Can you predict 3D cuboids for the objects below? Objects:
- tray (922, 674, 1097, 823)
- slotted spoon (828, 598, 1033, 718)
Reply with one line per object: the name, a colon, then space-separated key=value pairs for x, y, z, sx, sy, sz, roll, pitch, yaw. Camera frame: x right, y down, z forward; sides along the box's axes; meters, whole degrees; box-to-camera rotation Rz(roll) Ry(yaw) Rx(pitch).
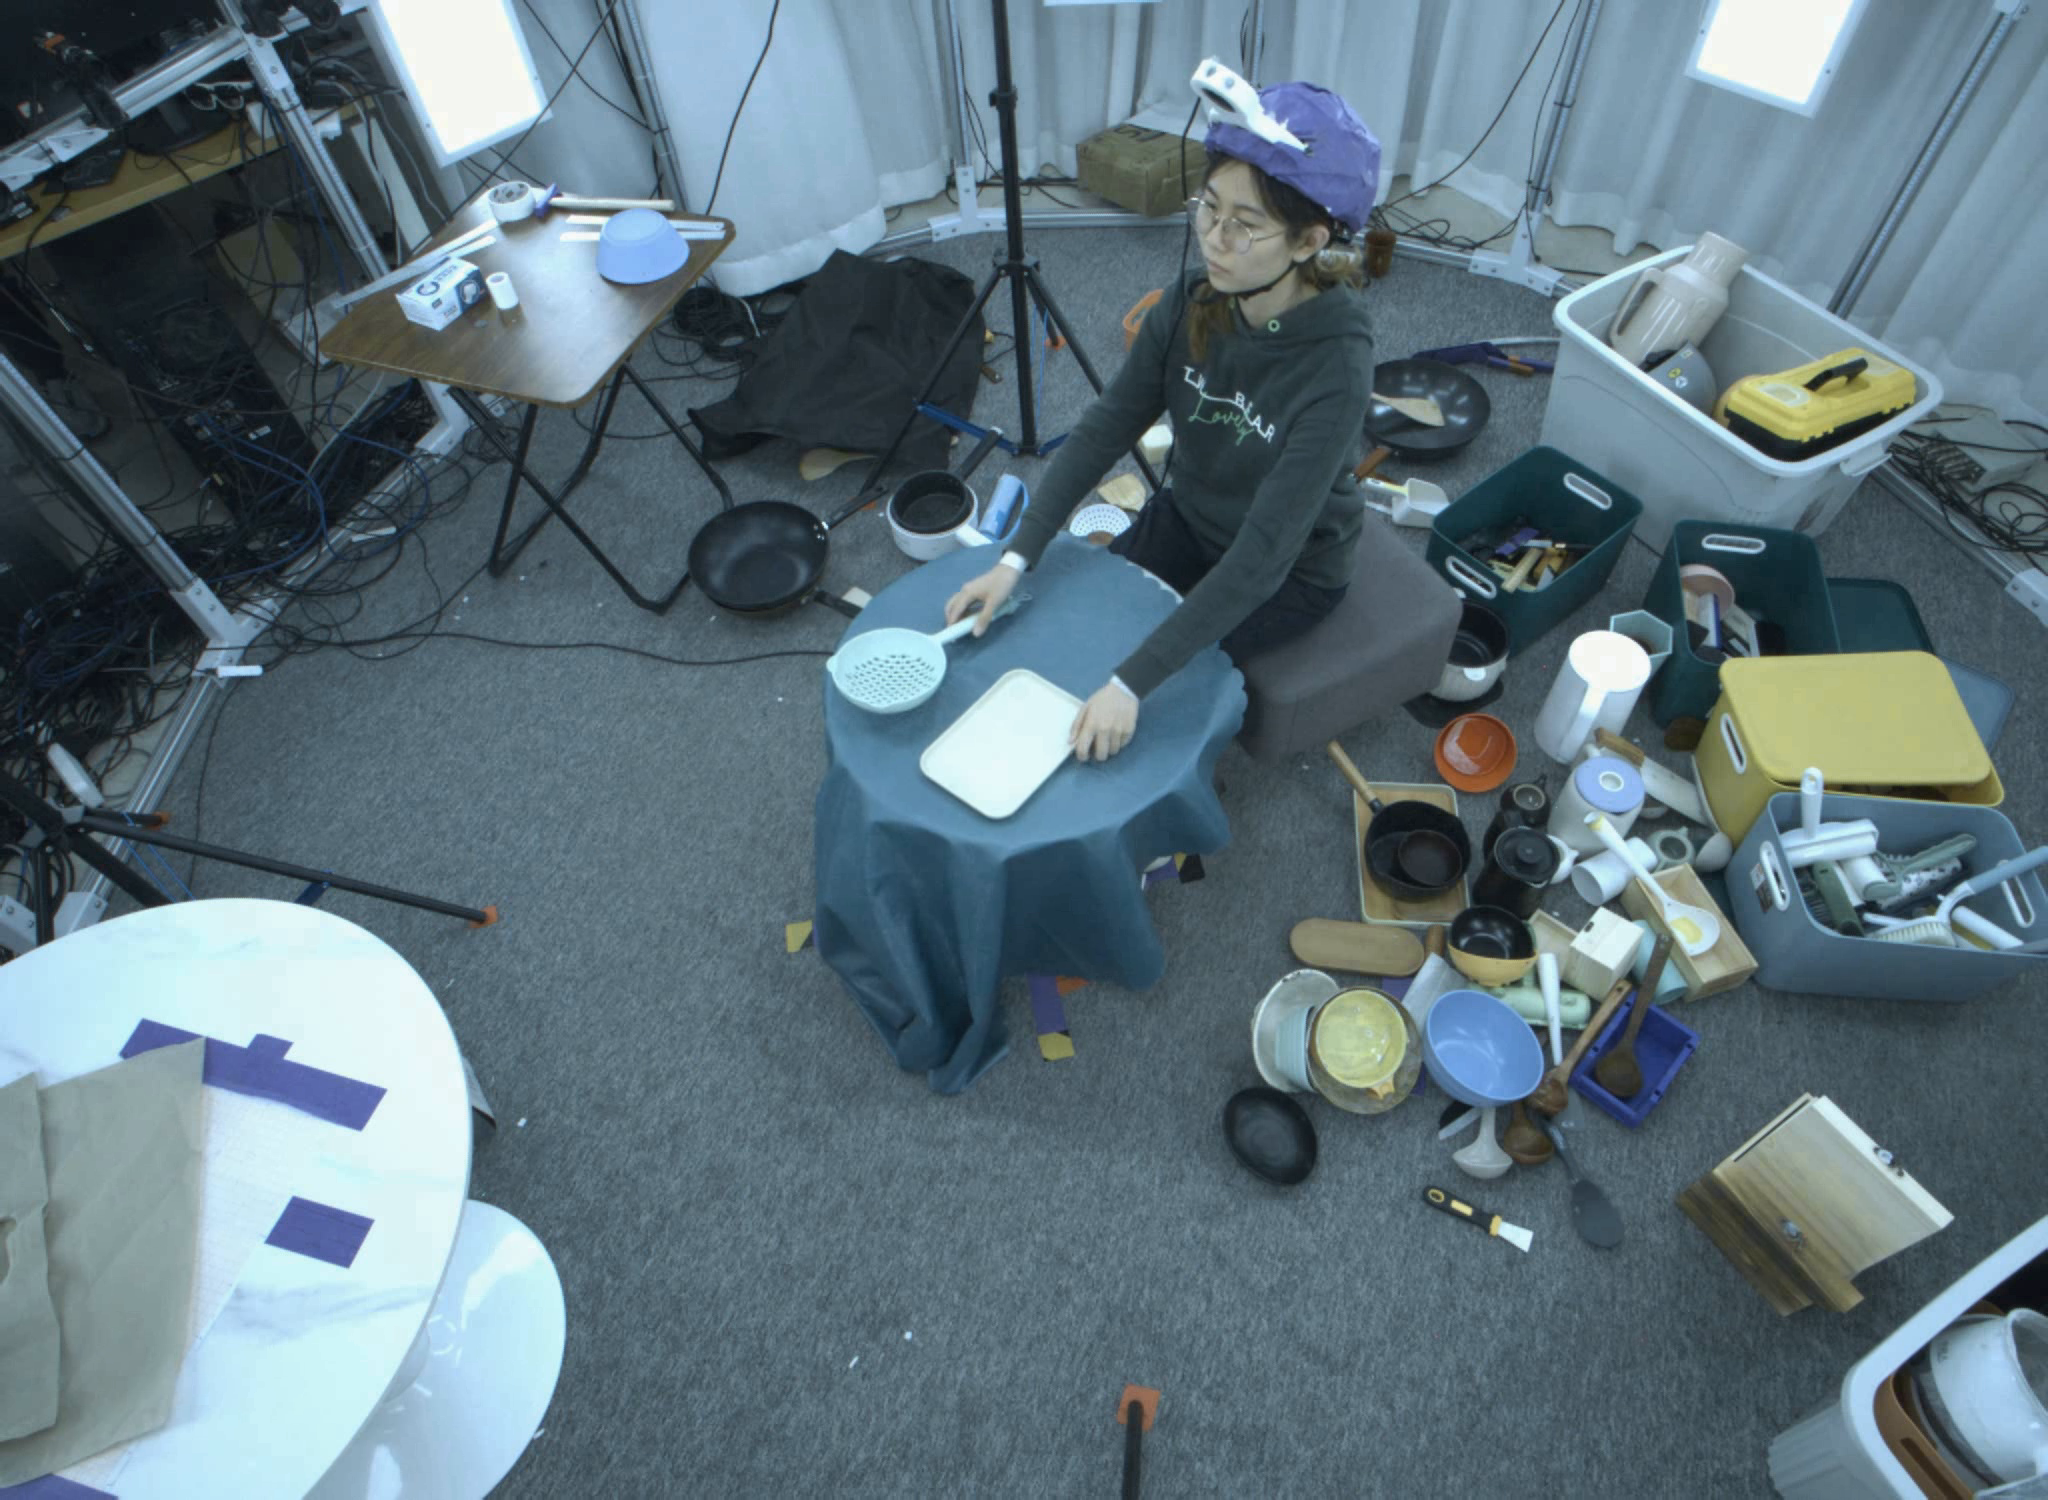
tray: x=-0.020 y=-0.004 z=1.792 sx=0.168 sy=0.017 sz=0.241 roll=33 pitch=61 yaw=22
slotted spoon: x=-0.125 y=-0.159 z=1.873 sx=0.361 sy=0.076 sz=0.166 roll=-38 pitch=58 yaw=-22
